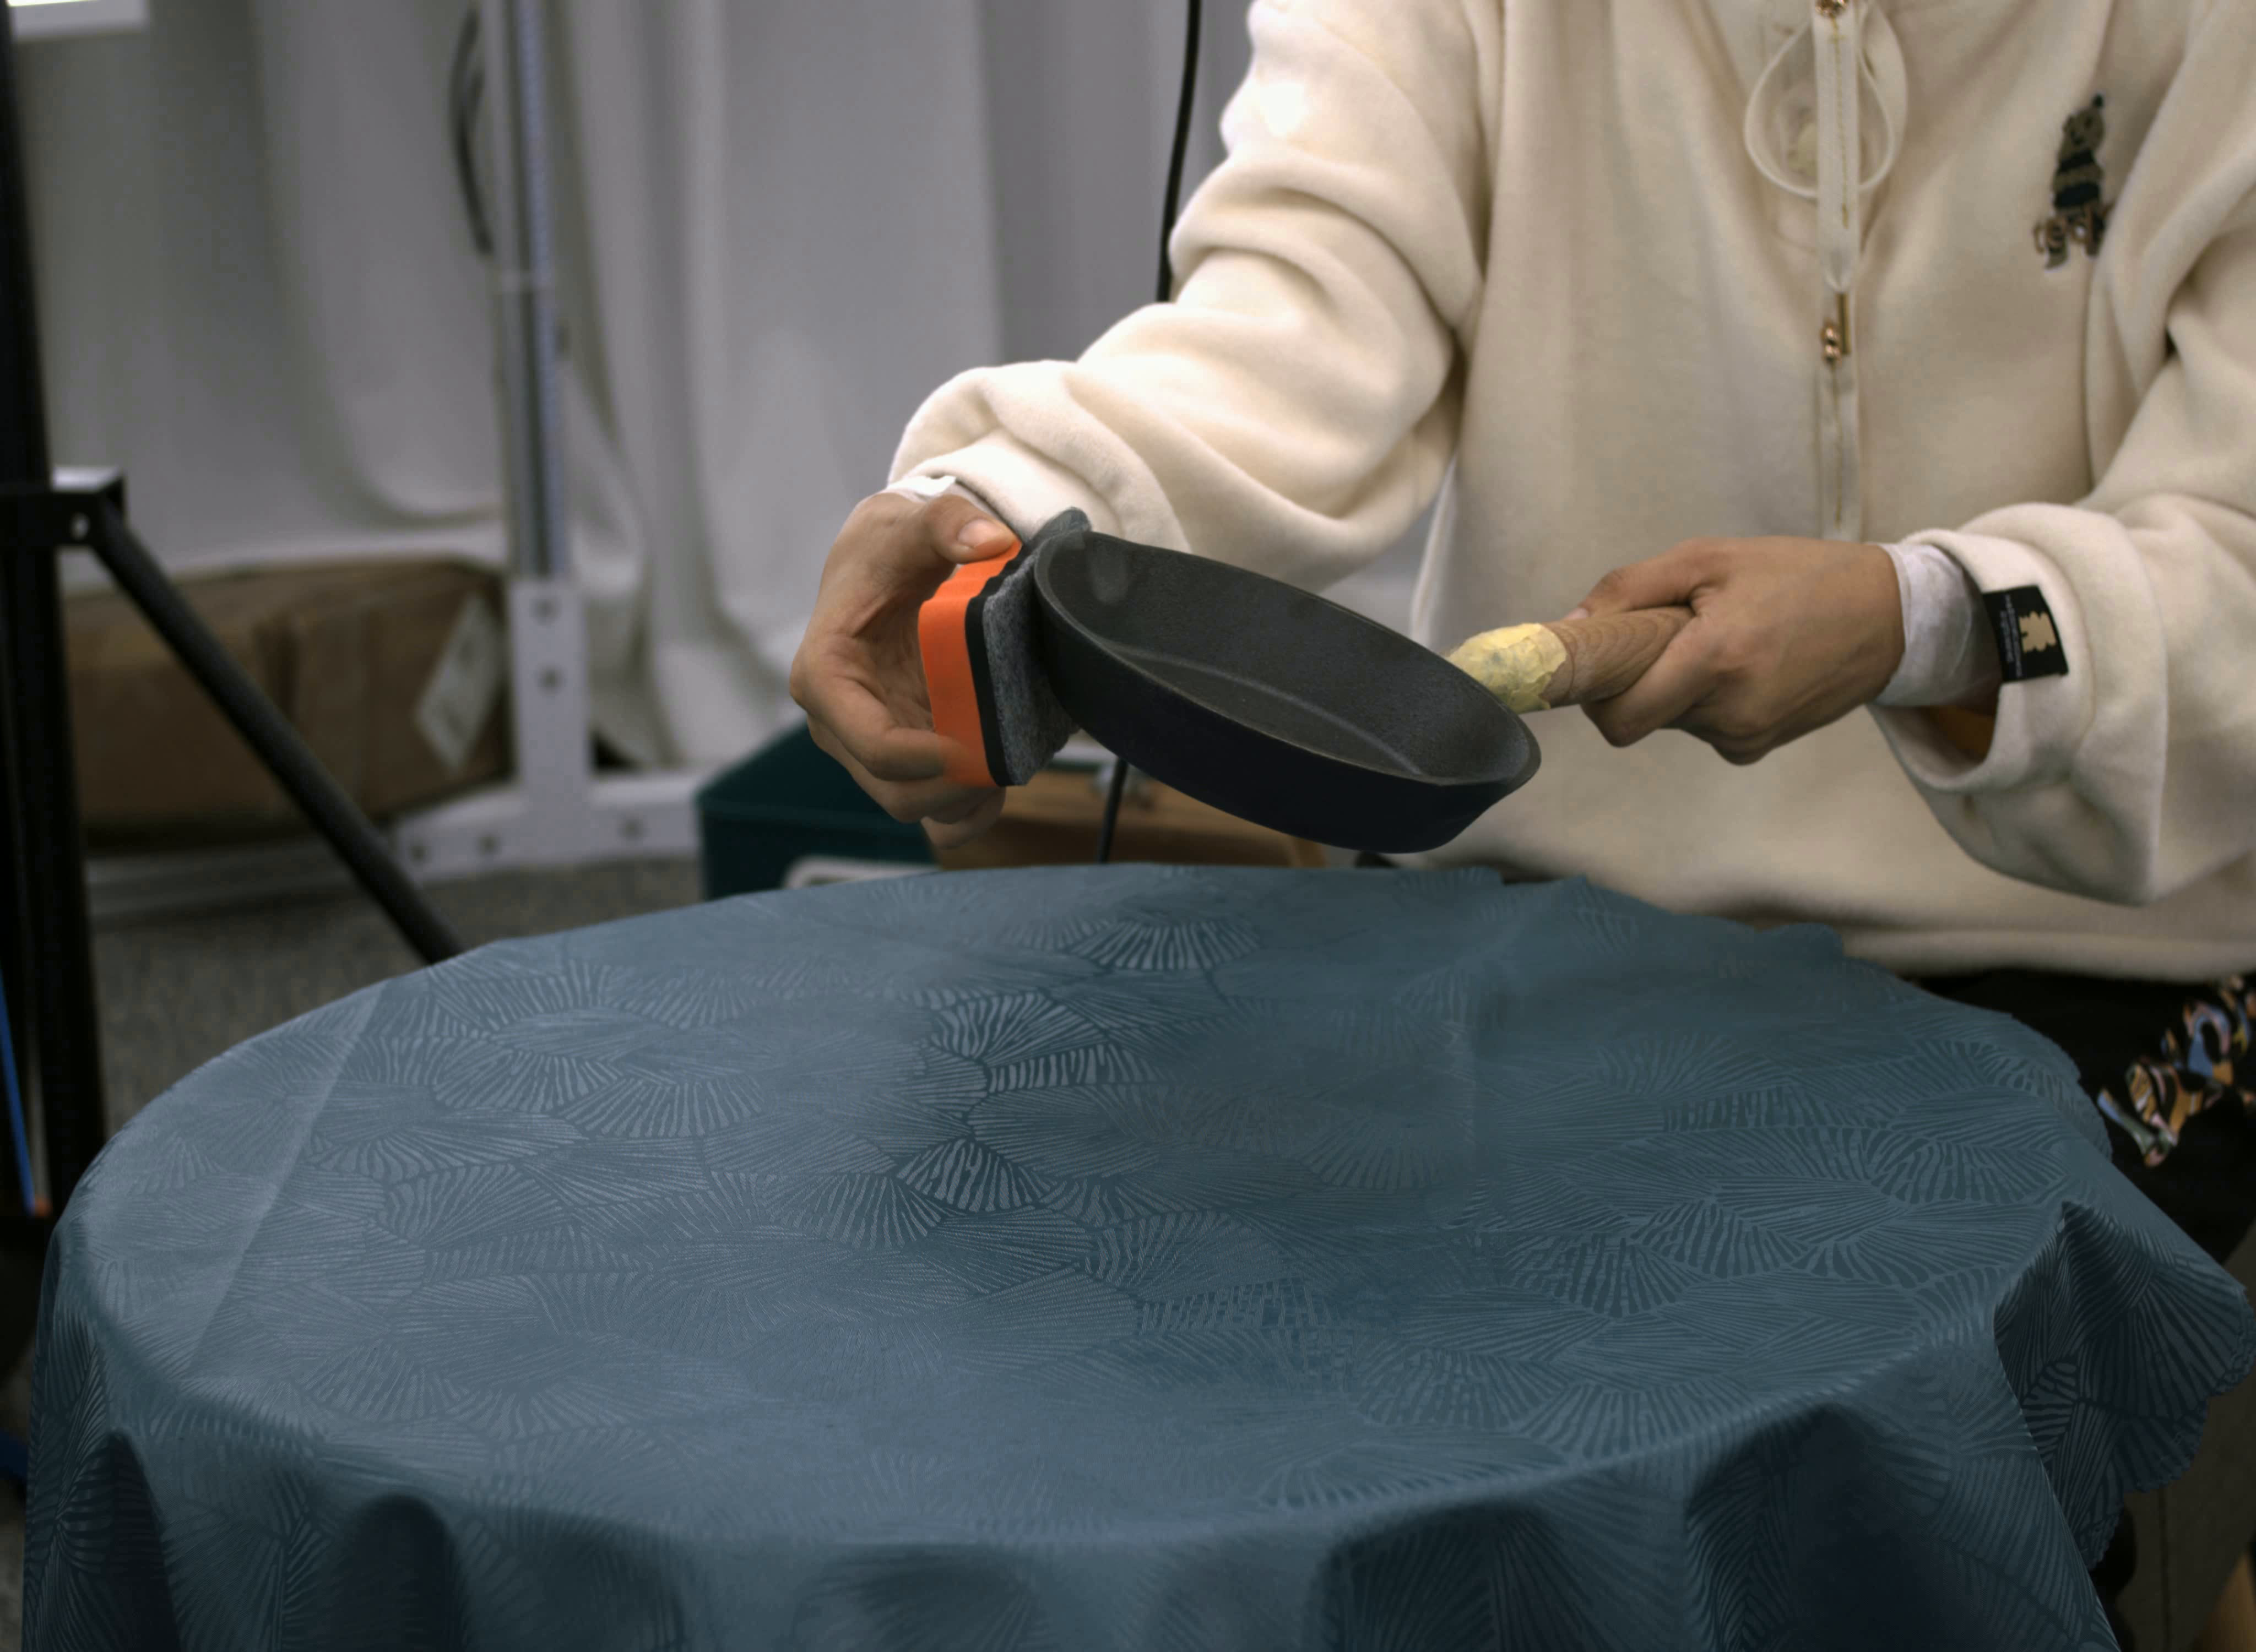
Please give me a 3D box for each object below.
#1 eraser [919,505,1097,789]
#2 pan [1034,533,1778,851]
[{"bbox_3d":[-0.031,-0.053,1.561,0.023,0.059,0.107,-6,17,18],"label":"eraser"},{"bbox_3d":[0.098,-0.043,1.602,0.172,0.050,0.316,34,23,35],"label":"pan"}]
